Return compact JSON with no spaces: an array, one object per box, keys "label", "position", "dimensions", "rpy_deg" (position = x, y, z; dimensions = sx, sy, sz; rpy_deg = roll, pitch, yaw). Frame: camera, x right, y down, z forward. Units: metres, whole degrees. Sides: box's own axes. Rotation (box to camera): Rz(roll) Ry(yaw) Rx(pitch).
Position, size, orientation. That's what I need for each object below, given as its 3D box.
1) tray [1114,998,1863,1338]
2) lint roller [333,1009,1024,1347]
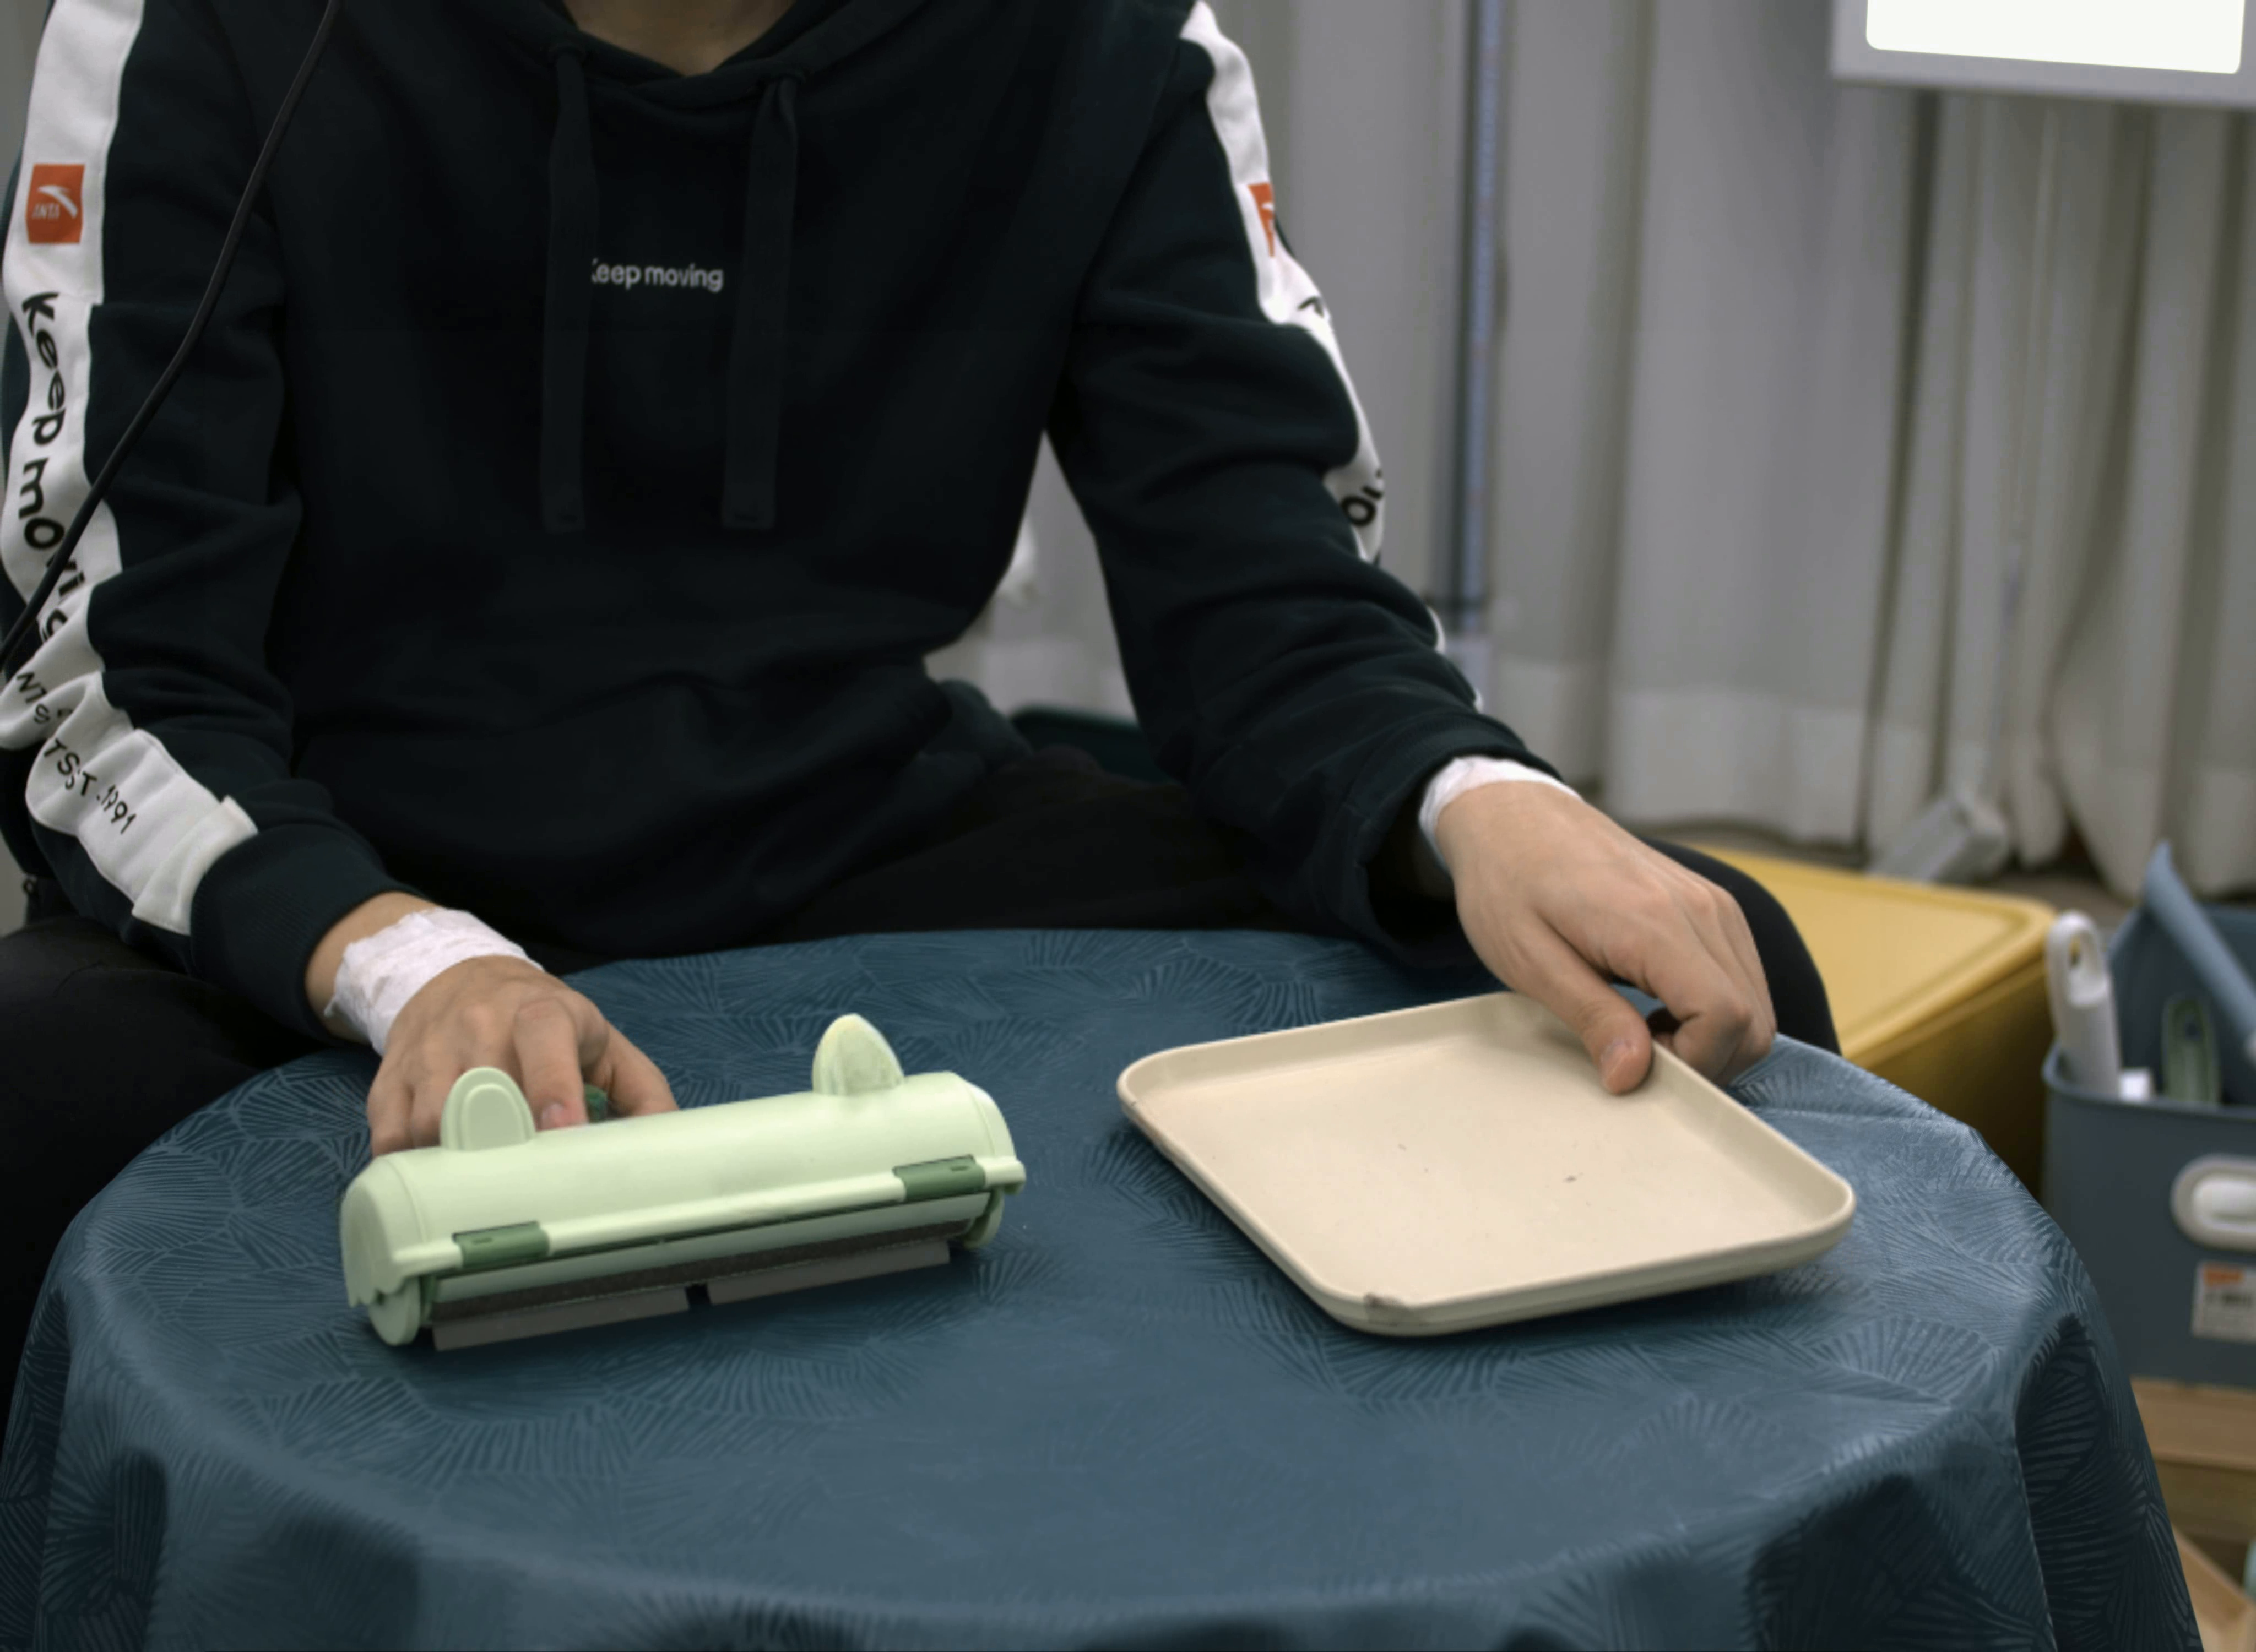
[{"label":"tray","position":[0.106,0.103,1.609],"dimensions":[0.171,0.017,0.237],"rpy_deg":[-7,18,-18]},{"label":"lint roller","position":[-0.154,0.086,1.565],"dimensions":[0.199,0.083,0.181],"rpy_deg":[-8,22,-26]}]
